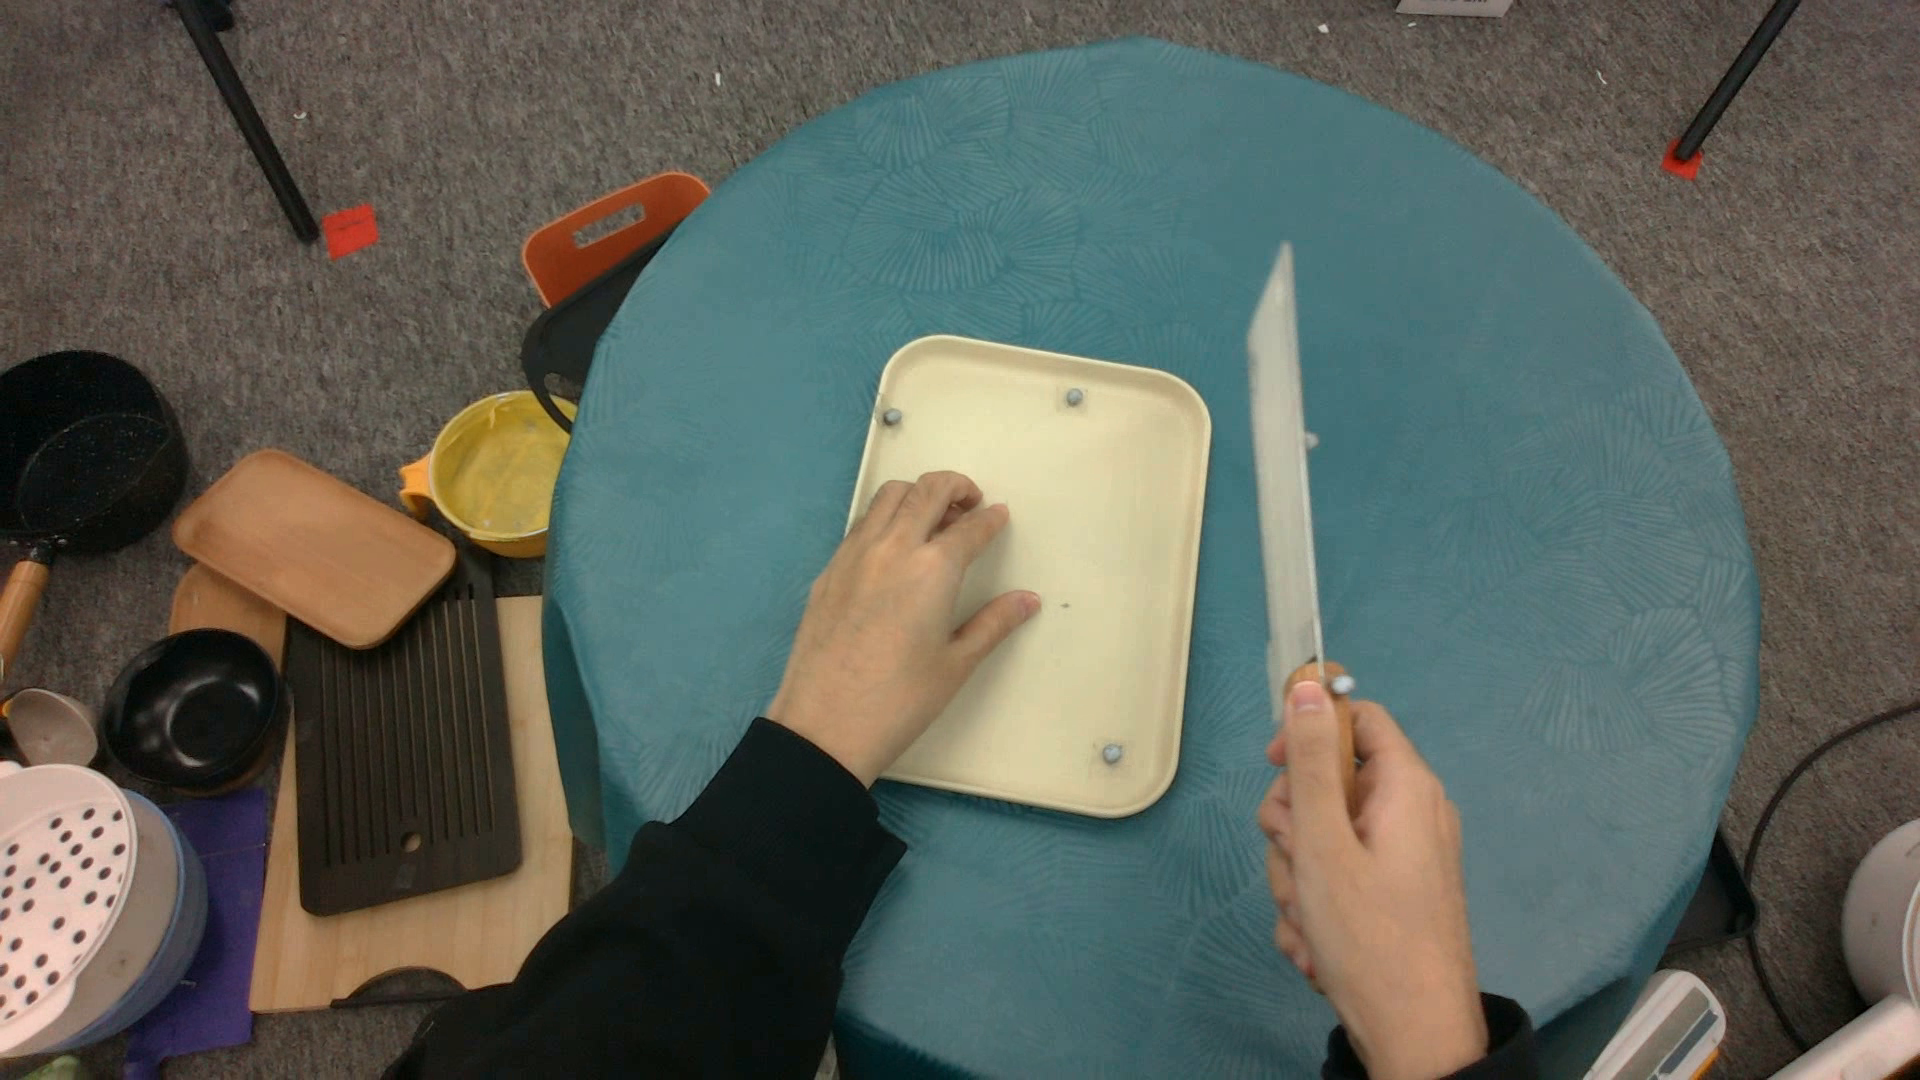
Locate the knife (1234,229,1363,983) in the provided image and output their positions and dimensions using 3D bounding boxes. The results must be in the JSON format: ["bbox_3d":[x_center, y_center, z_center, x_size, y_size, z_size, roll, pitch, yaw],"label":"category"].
[{"bbox_3d":[0.132,0.023,0.570,0.021,0.092,0.306,-1,71,0],"label":"knife"}]

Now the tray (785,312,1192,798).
[{"bbox_3d":[0.019,0.000,0.661,0.171,0.017,0.240,11,63,0],"label":"tray"}]
